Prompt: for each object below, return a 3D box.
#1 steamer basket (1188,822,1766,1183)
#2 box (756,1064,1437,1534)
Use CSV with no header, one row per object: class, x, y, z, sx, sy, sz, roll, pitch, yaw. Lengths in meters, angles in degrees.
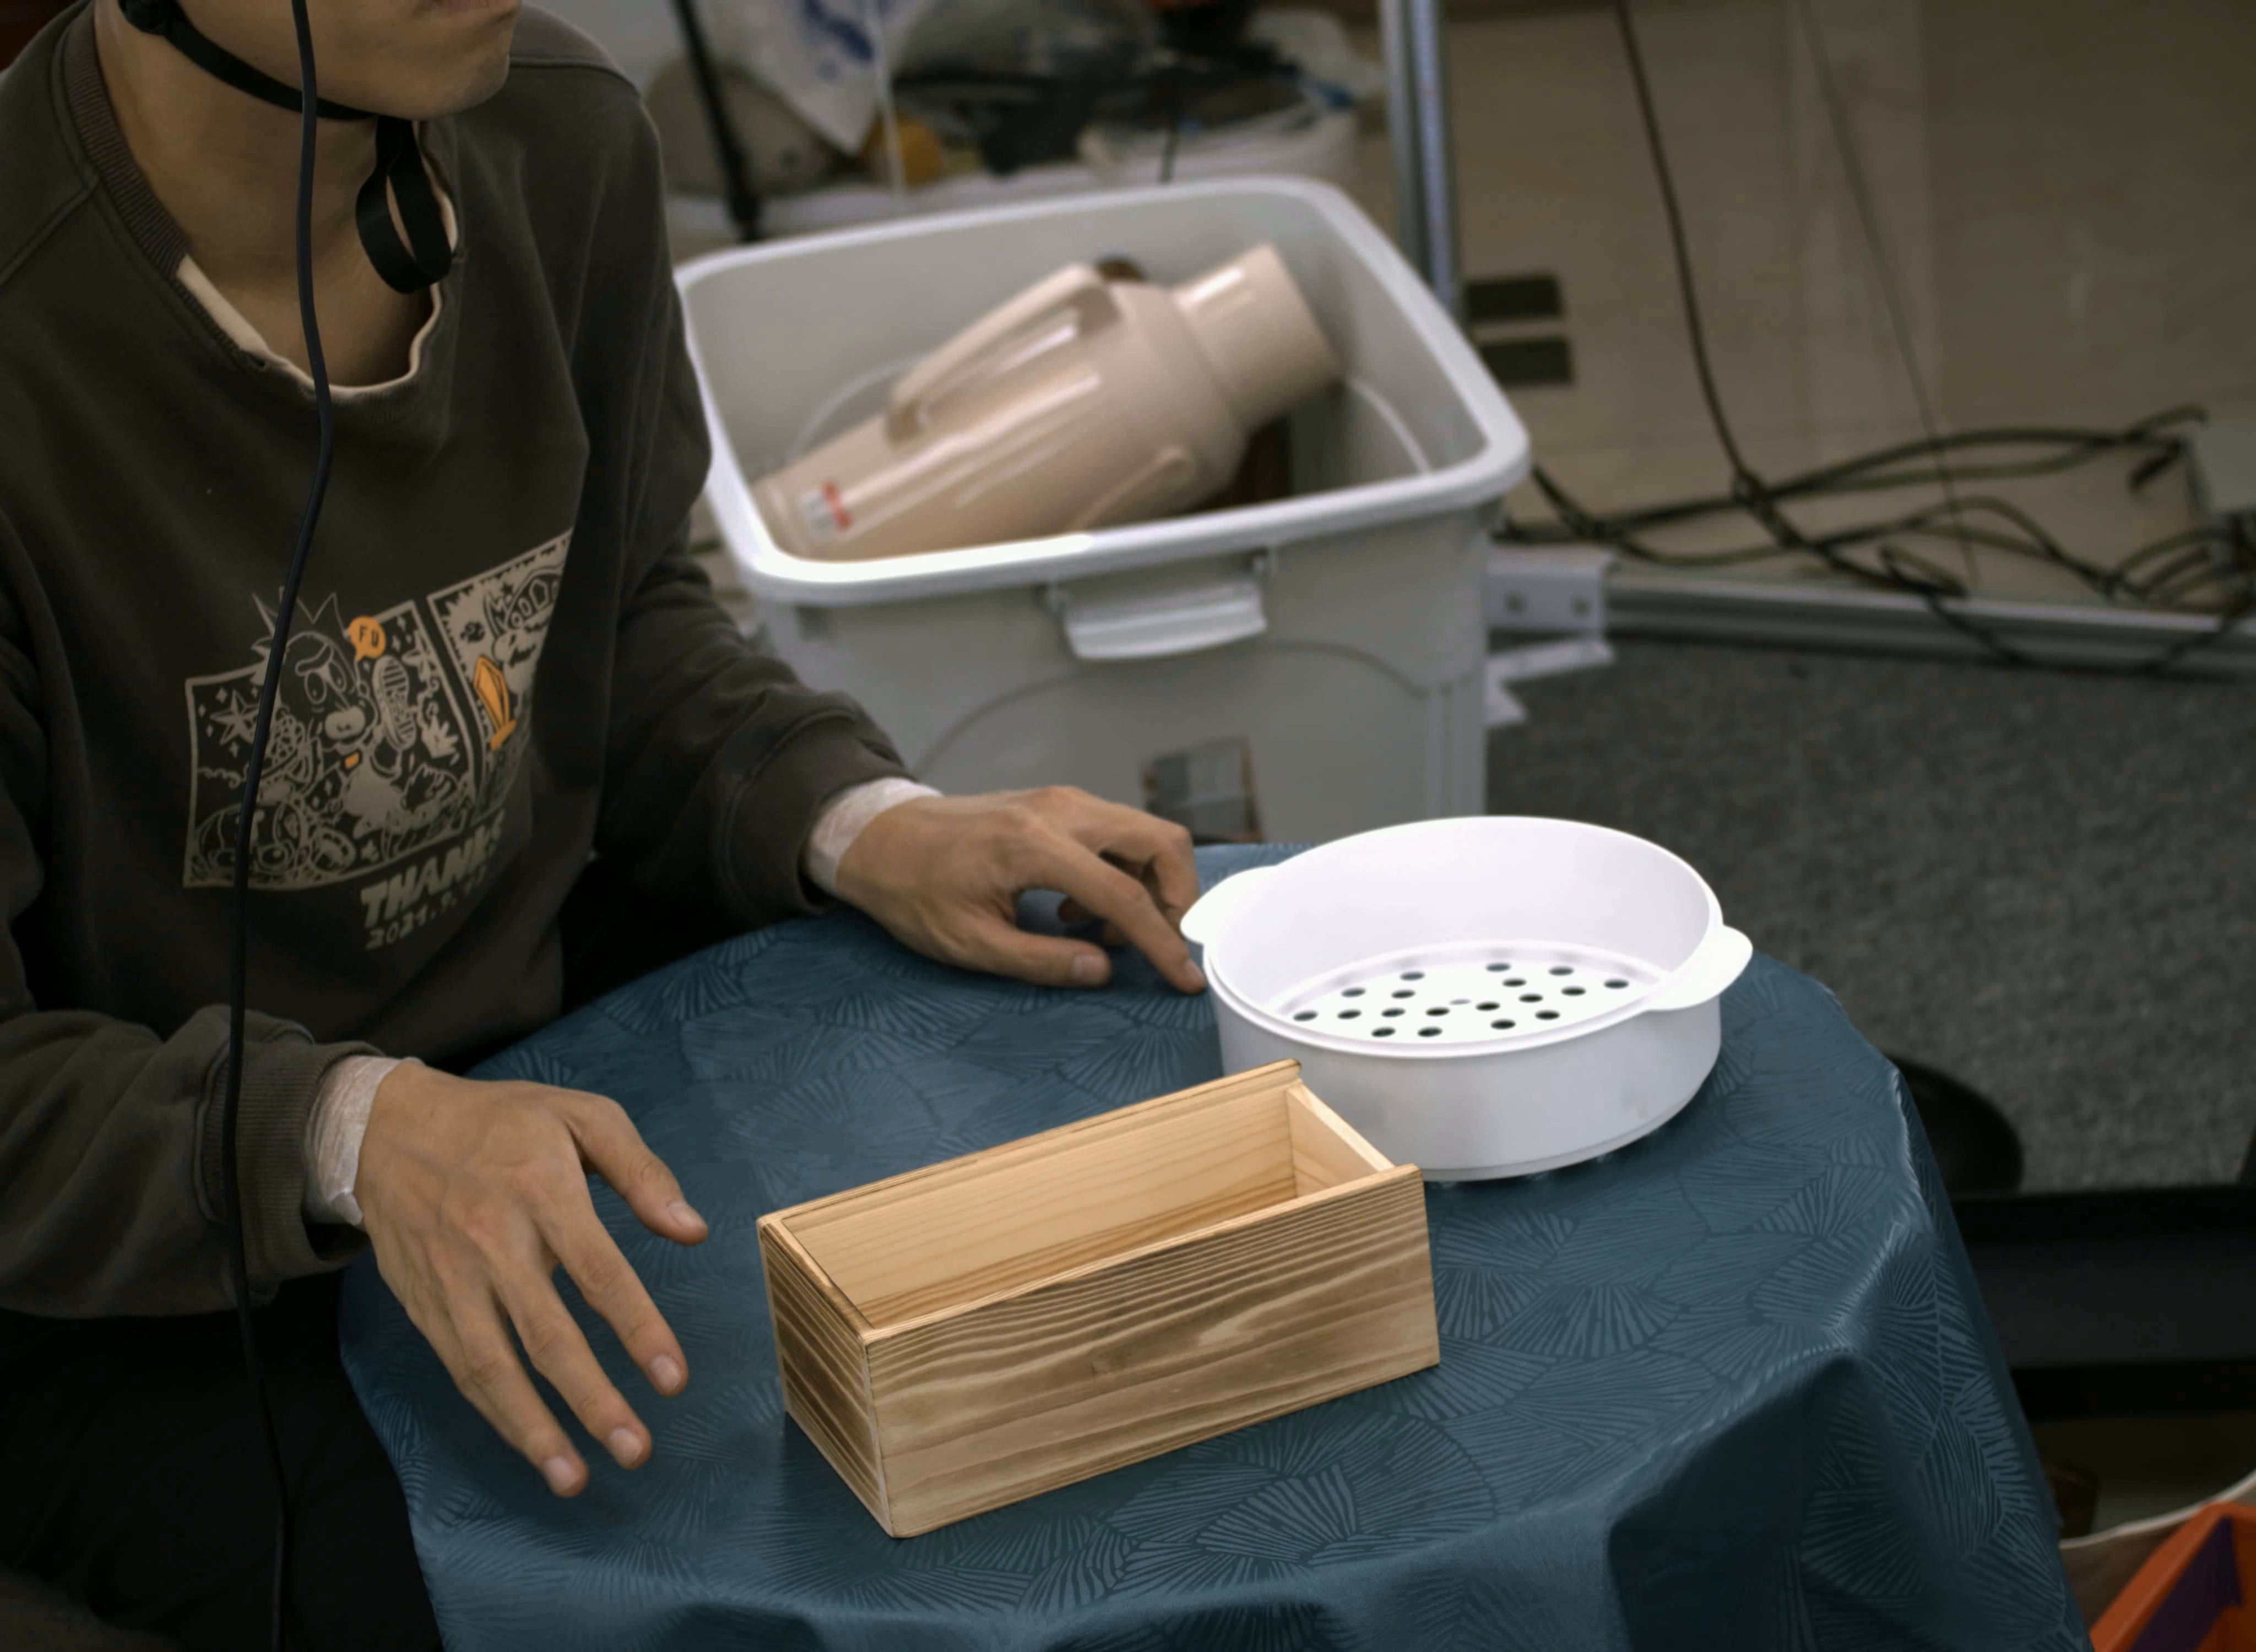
steamer basket,0.135,0.068,2.184,0.229,0.070,0.199,7,27,29
box,-0.011,0.164,2.000,0.210,0.081,0.106,-16,26,-19
